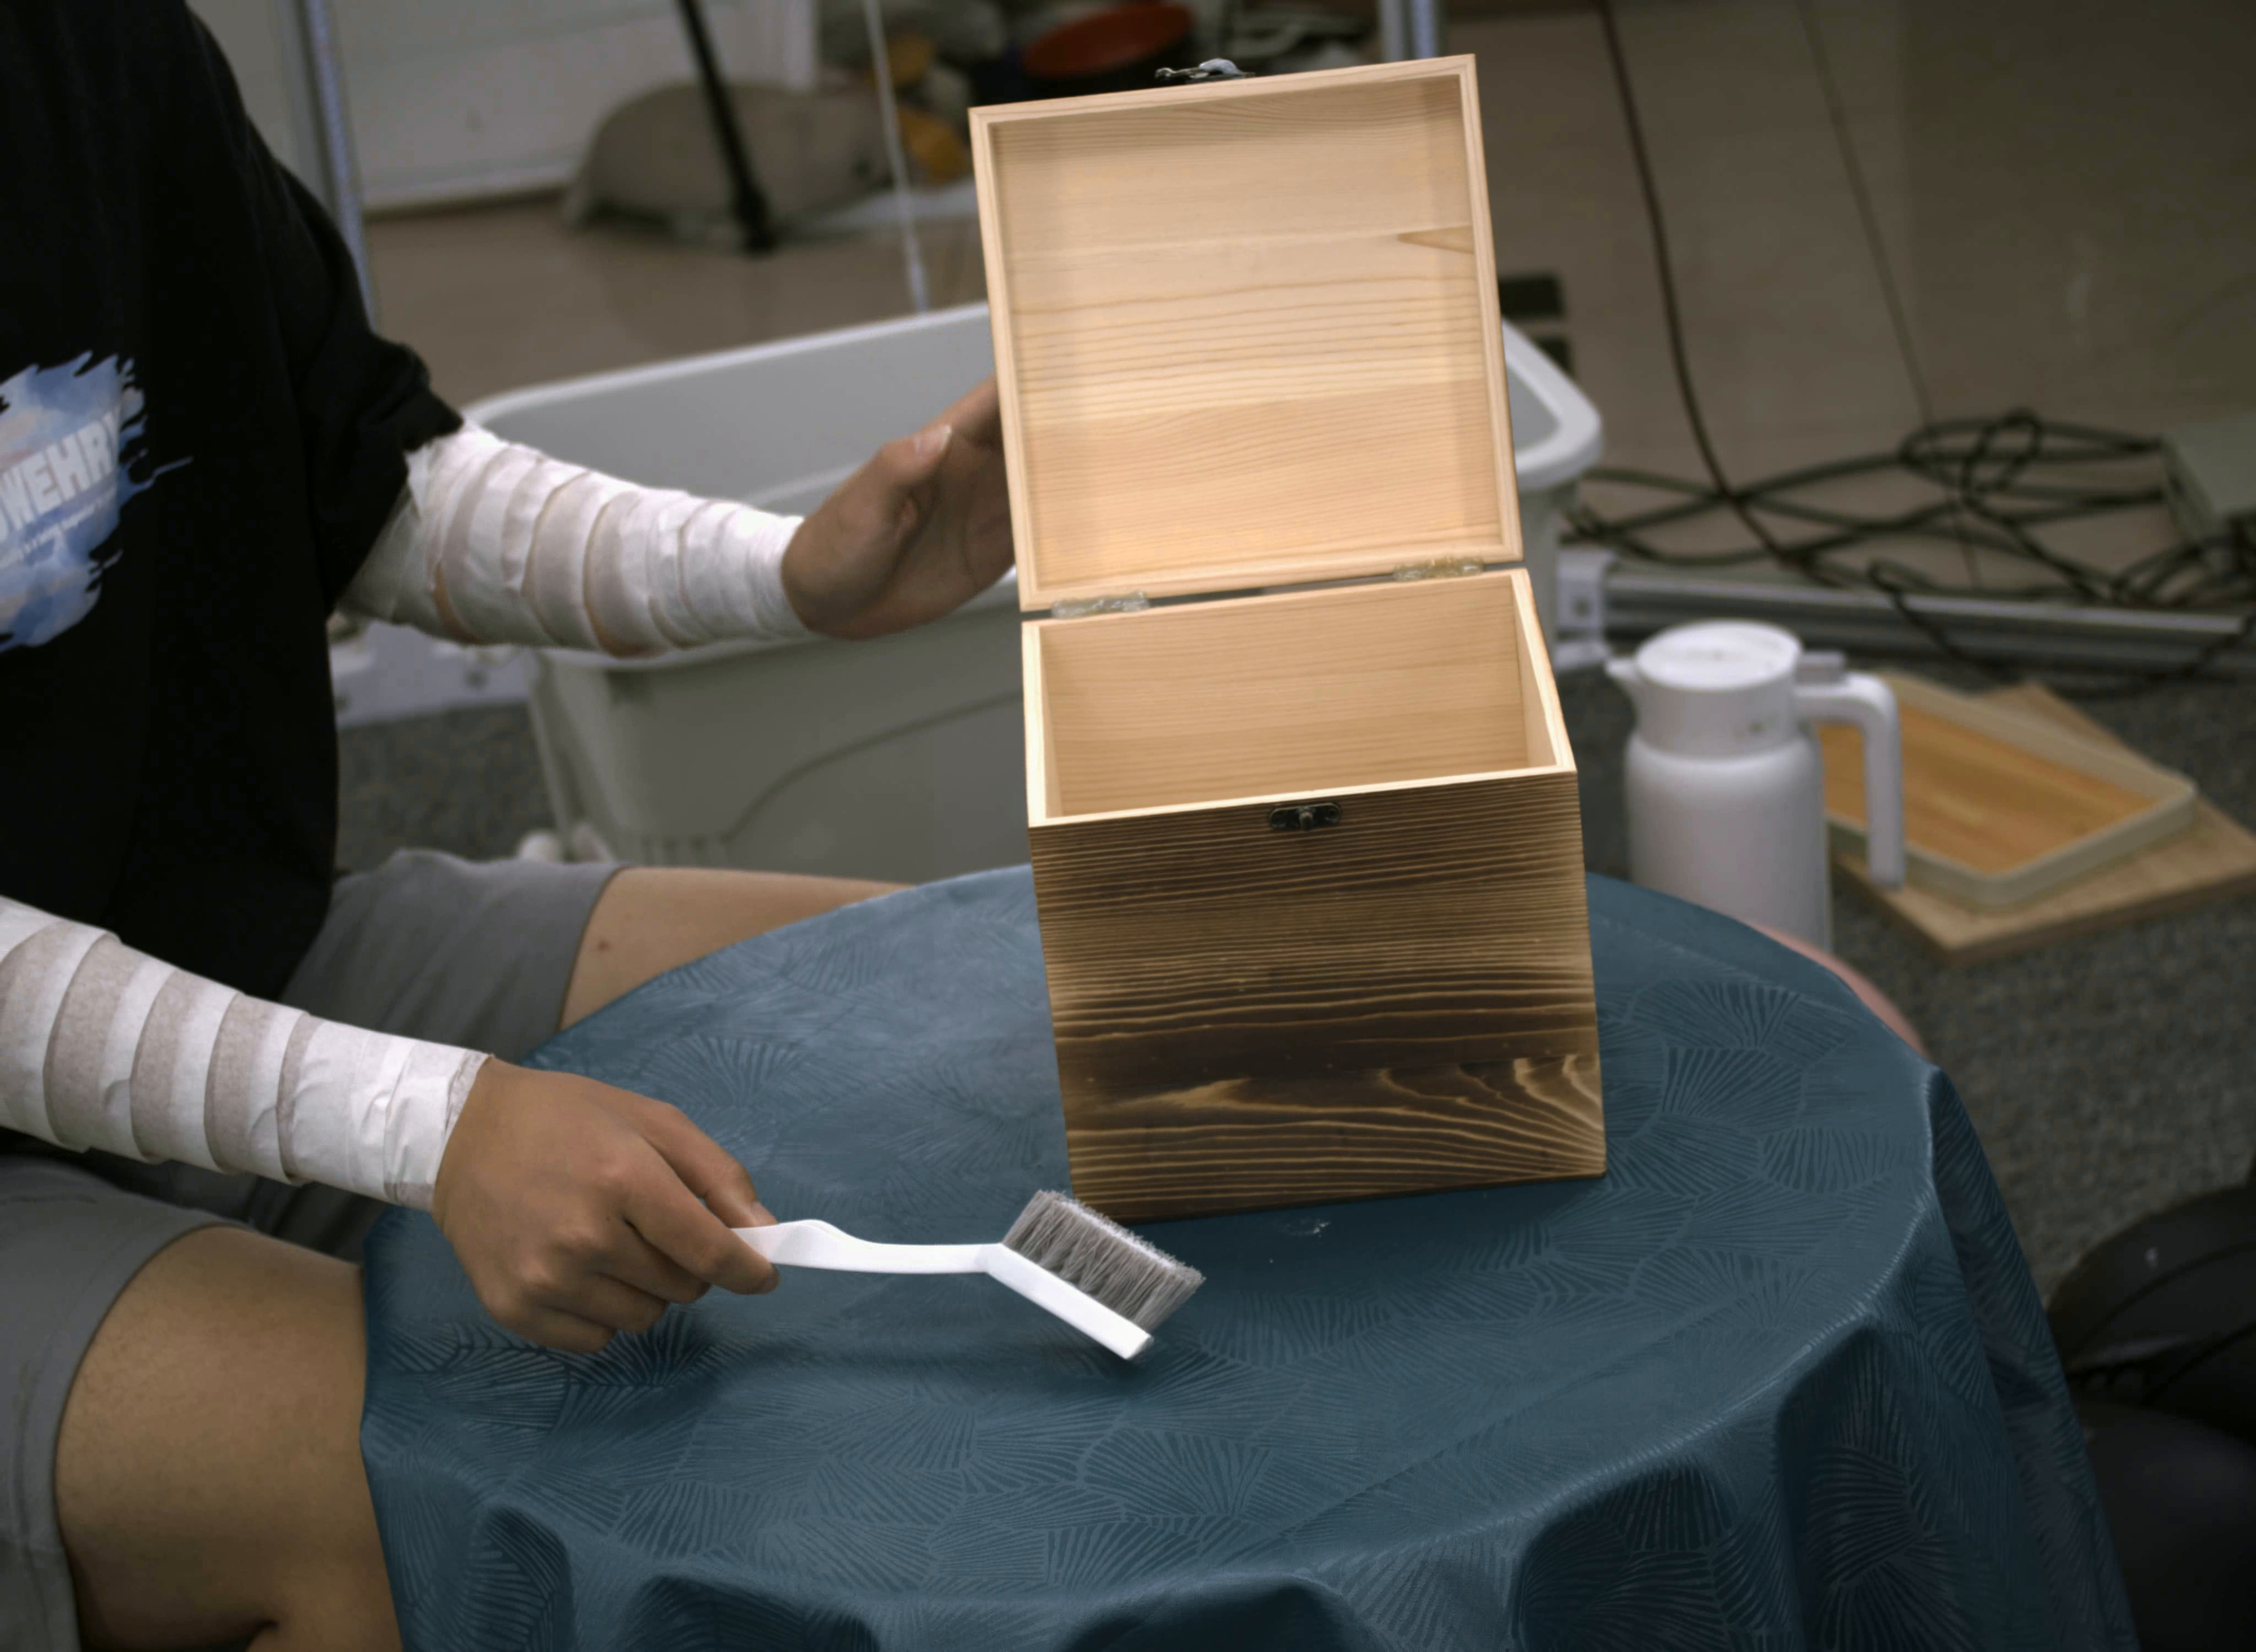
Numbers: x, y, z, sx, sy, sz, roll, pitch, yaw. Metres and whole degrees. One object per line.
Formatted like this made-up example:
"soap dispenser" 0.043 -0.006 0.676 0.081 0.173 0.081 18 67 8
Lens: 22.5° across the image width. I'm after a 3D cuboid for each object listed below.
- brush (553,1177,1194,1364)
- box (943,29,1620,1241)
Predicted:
"brush" -0.093 0.142 2.052 0.242 0.050 0.034 14 2 17
"box" 0.055 -0.084 2.176 0.208 0.381 0.317 -7 26 2
